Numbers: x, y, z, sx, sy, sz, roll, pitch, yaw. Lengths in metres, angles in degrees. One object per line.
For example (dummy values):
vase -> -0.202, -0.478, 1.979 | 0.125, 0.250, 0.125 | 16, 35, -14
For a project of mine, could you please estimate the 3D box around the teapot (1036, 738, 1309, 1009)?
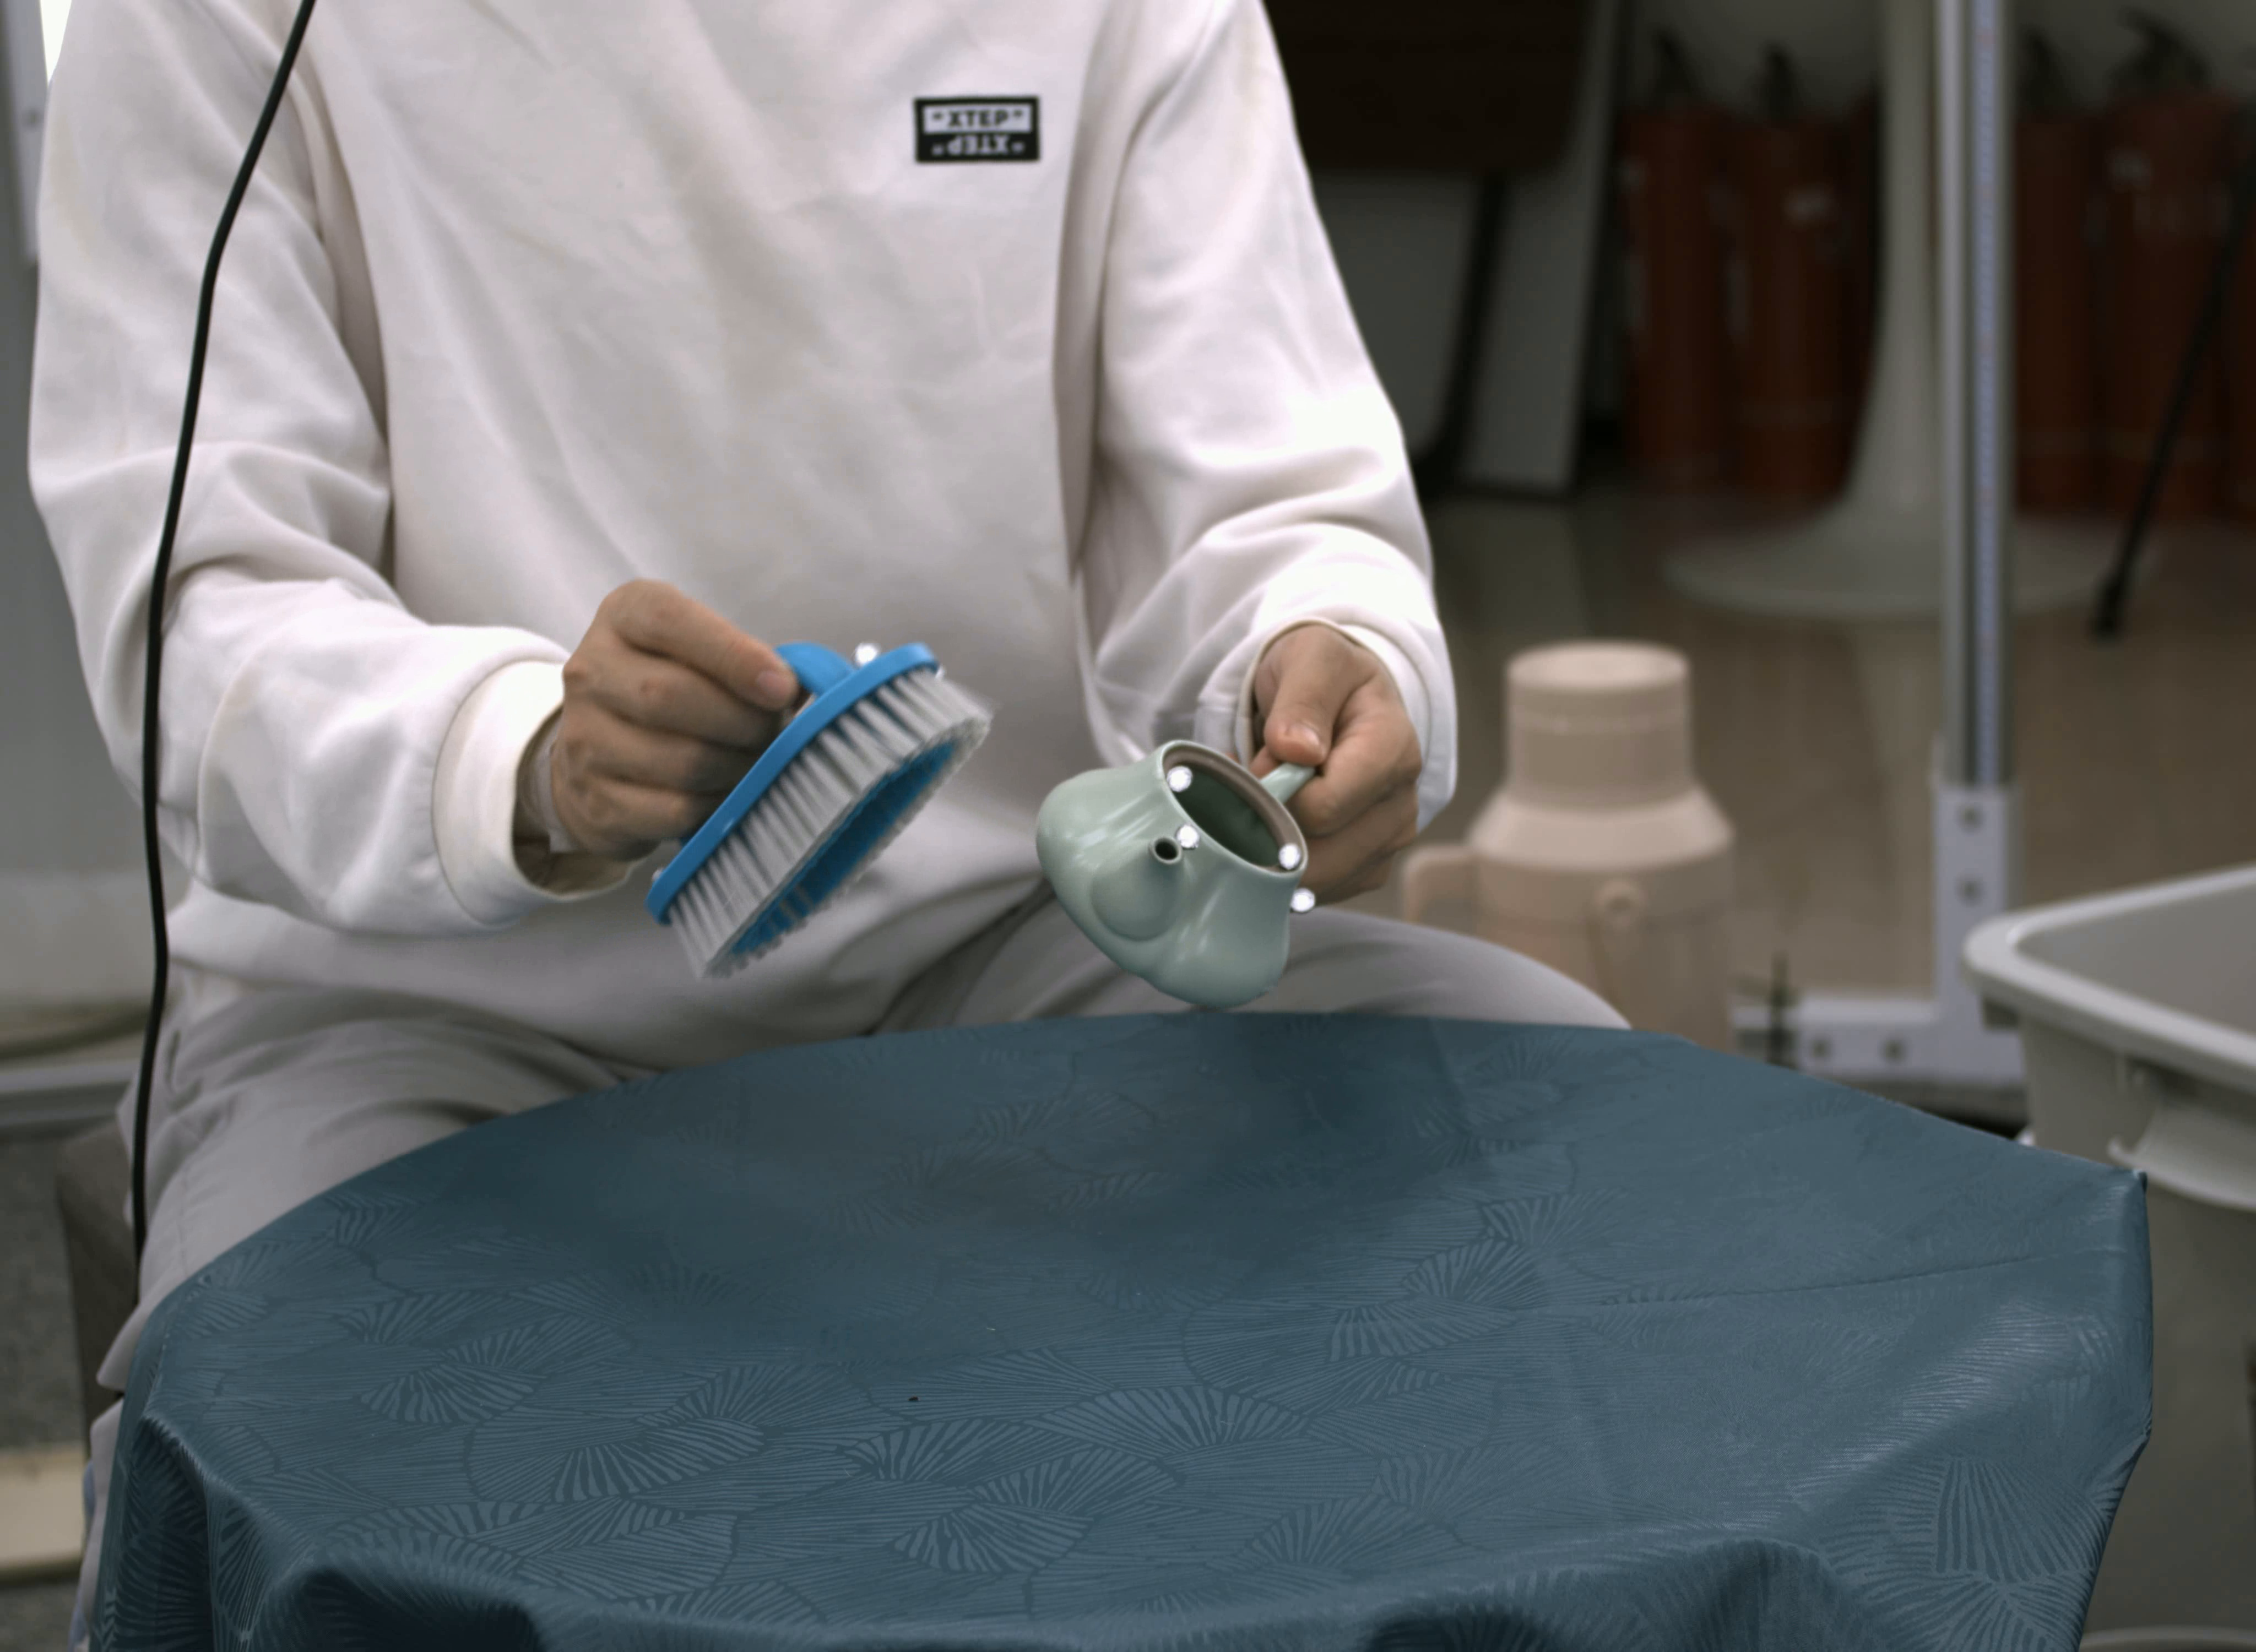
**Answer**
teapot -> 0.021, 0.011, 1.752 | 0.096, 0.062, 0.135 | 42, 26, 8

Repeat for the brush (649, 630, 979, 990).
brush -> -0.110, -0.014, 1.713 | 0.083, 0.064, 0.143 | -35, -12, -50
